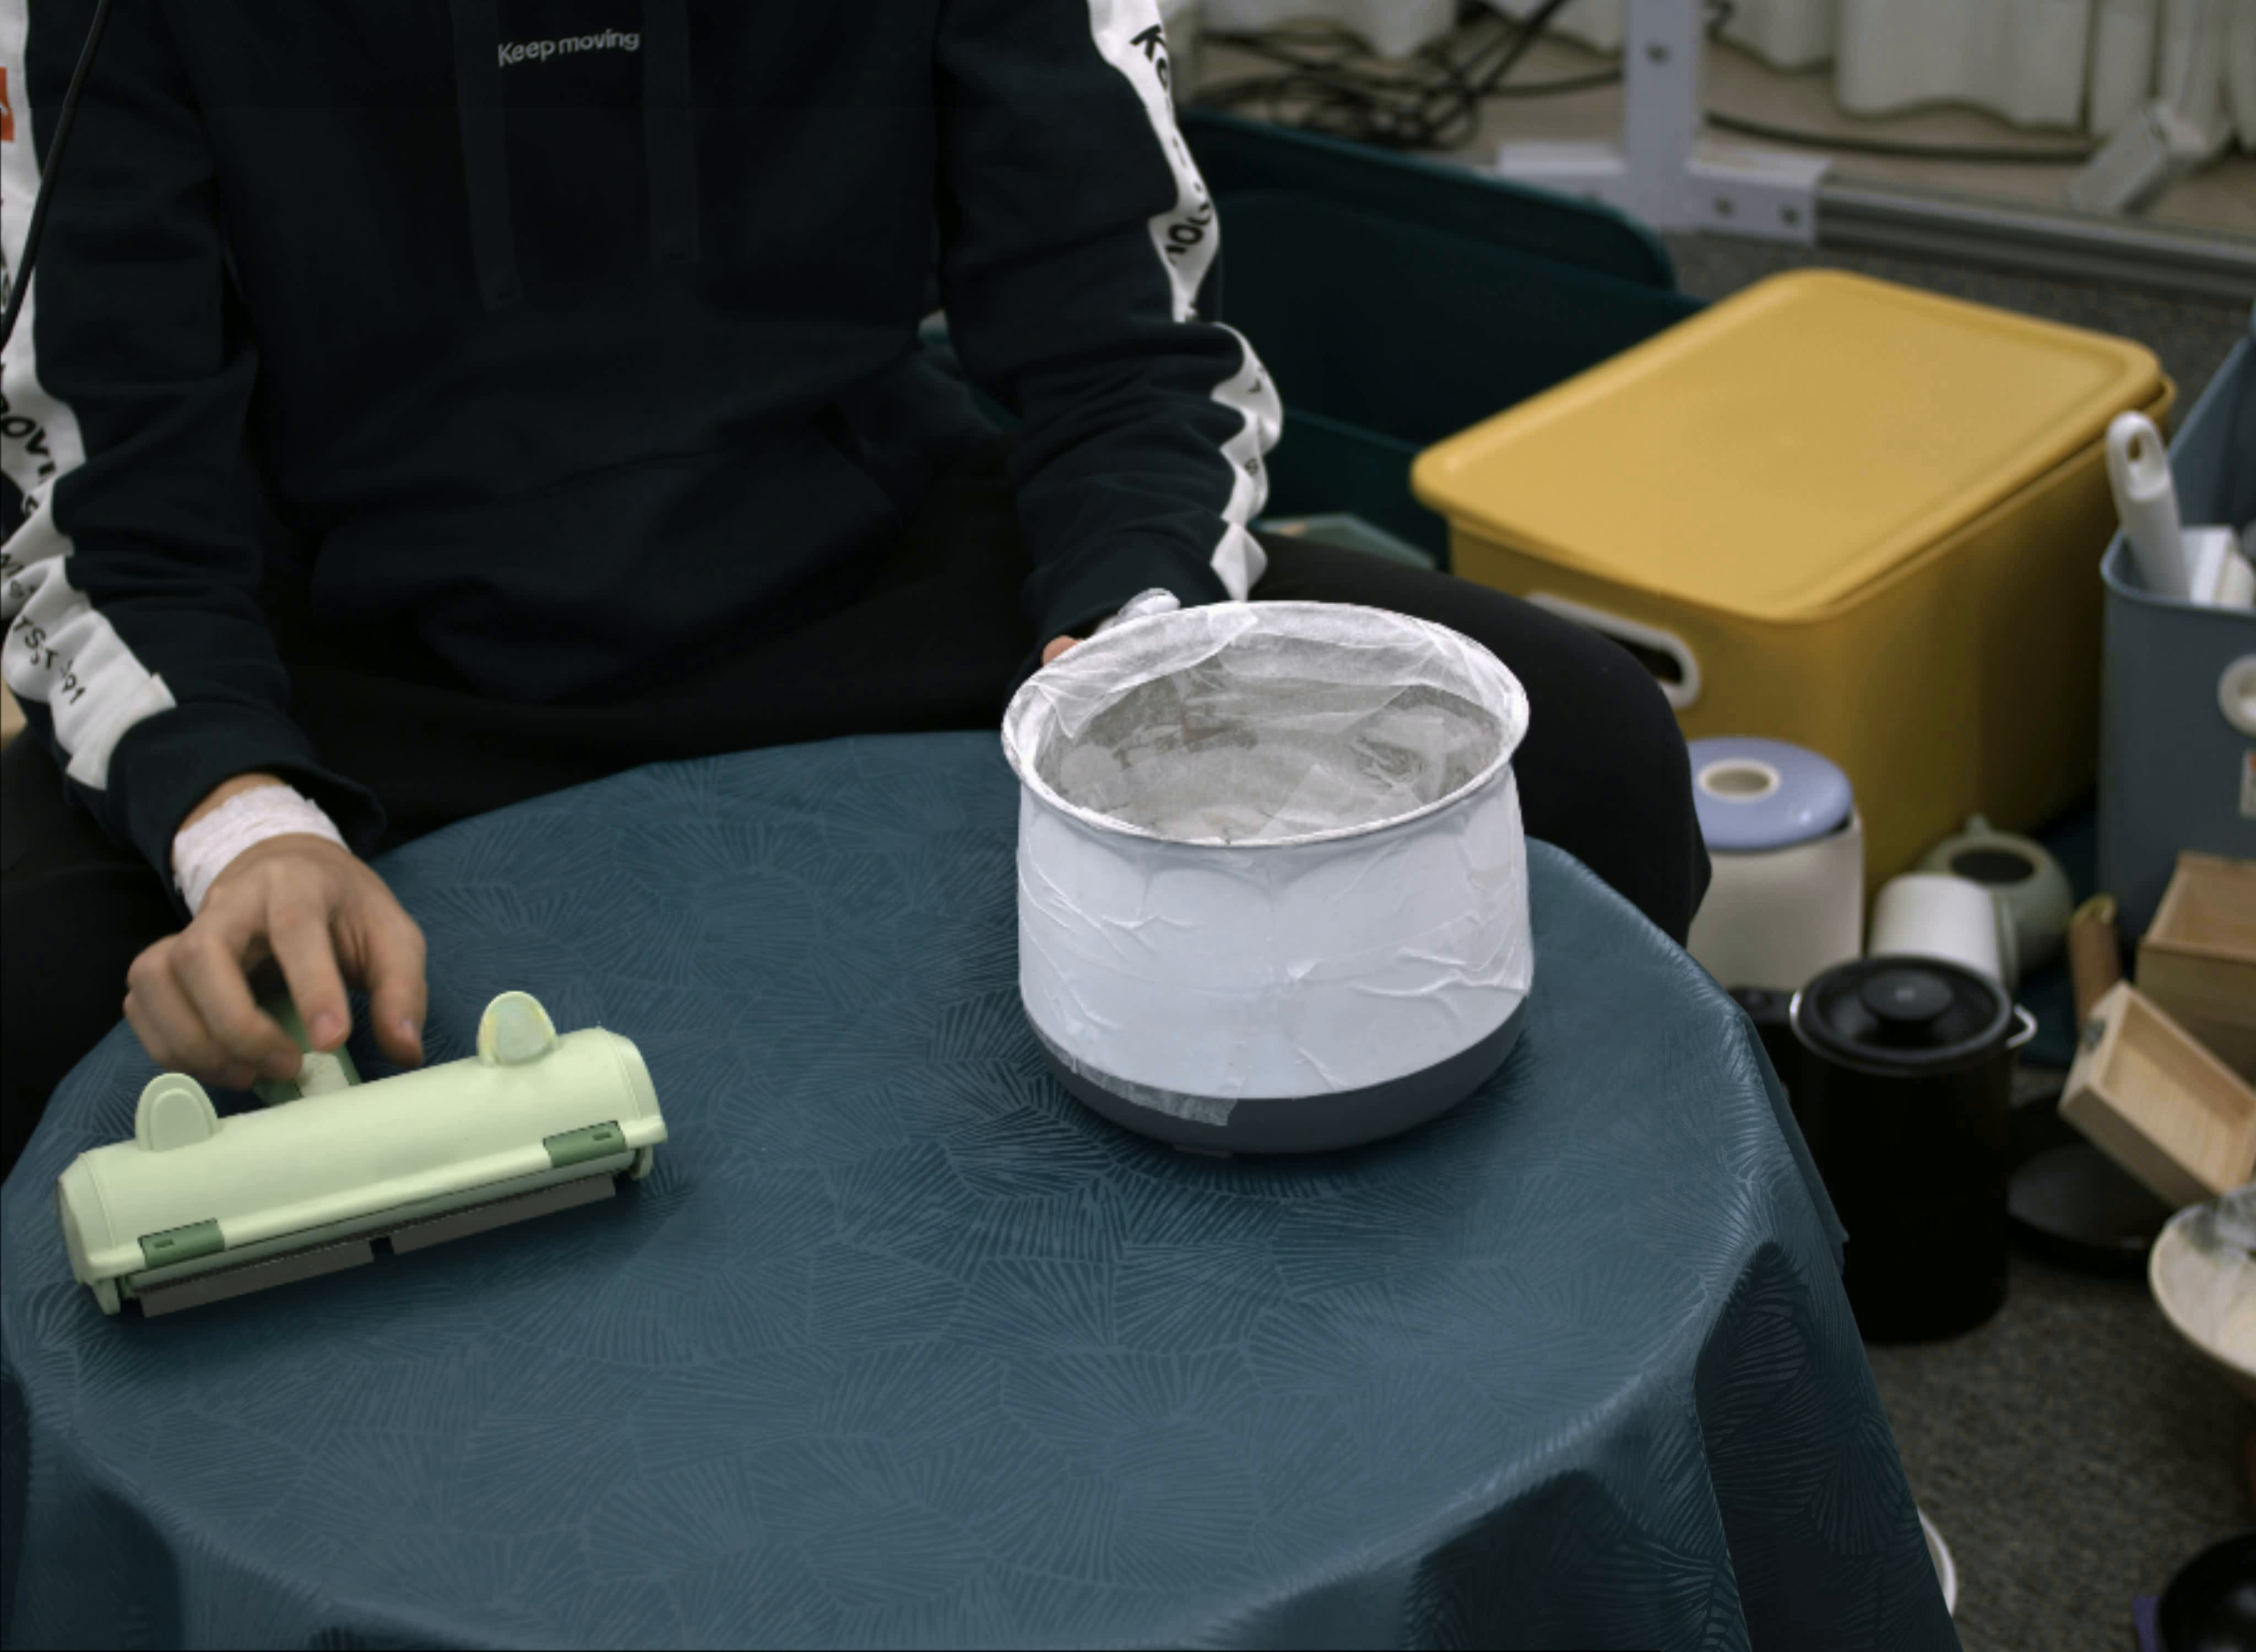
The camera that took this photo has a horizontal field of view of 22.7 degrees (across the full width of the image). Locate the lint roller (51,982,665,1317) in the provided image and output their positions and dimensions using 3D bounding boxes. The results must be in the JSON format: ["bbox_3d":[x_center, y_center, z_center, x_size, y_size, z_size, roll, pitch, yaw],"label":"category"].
[{"bbox_3d":[-0.273,0.081,1.885,0.199,0.081,0.185,-13,34,-18],"label":"lint roller"}]

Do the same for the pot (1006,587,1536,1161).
[{"bbox_3d":[0.039,0.009,1.928,0.179,0.135,0.235,-13,29,-19],"label":"pot"}]
